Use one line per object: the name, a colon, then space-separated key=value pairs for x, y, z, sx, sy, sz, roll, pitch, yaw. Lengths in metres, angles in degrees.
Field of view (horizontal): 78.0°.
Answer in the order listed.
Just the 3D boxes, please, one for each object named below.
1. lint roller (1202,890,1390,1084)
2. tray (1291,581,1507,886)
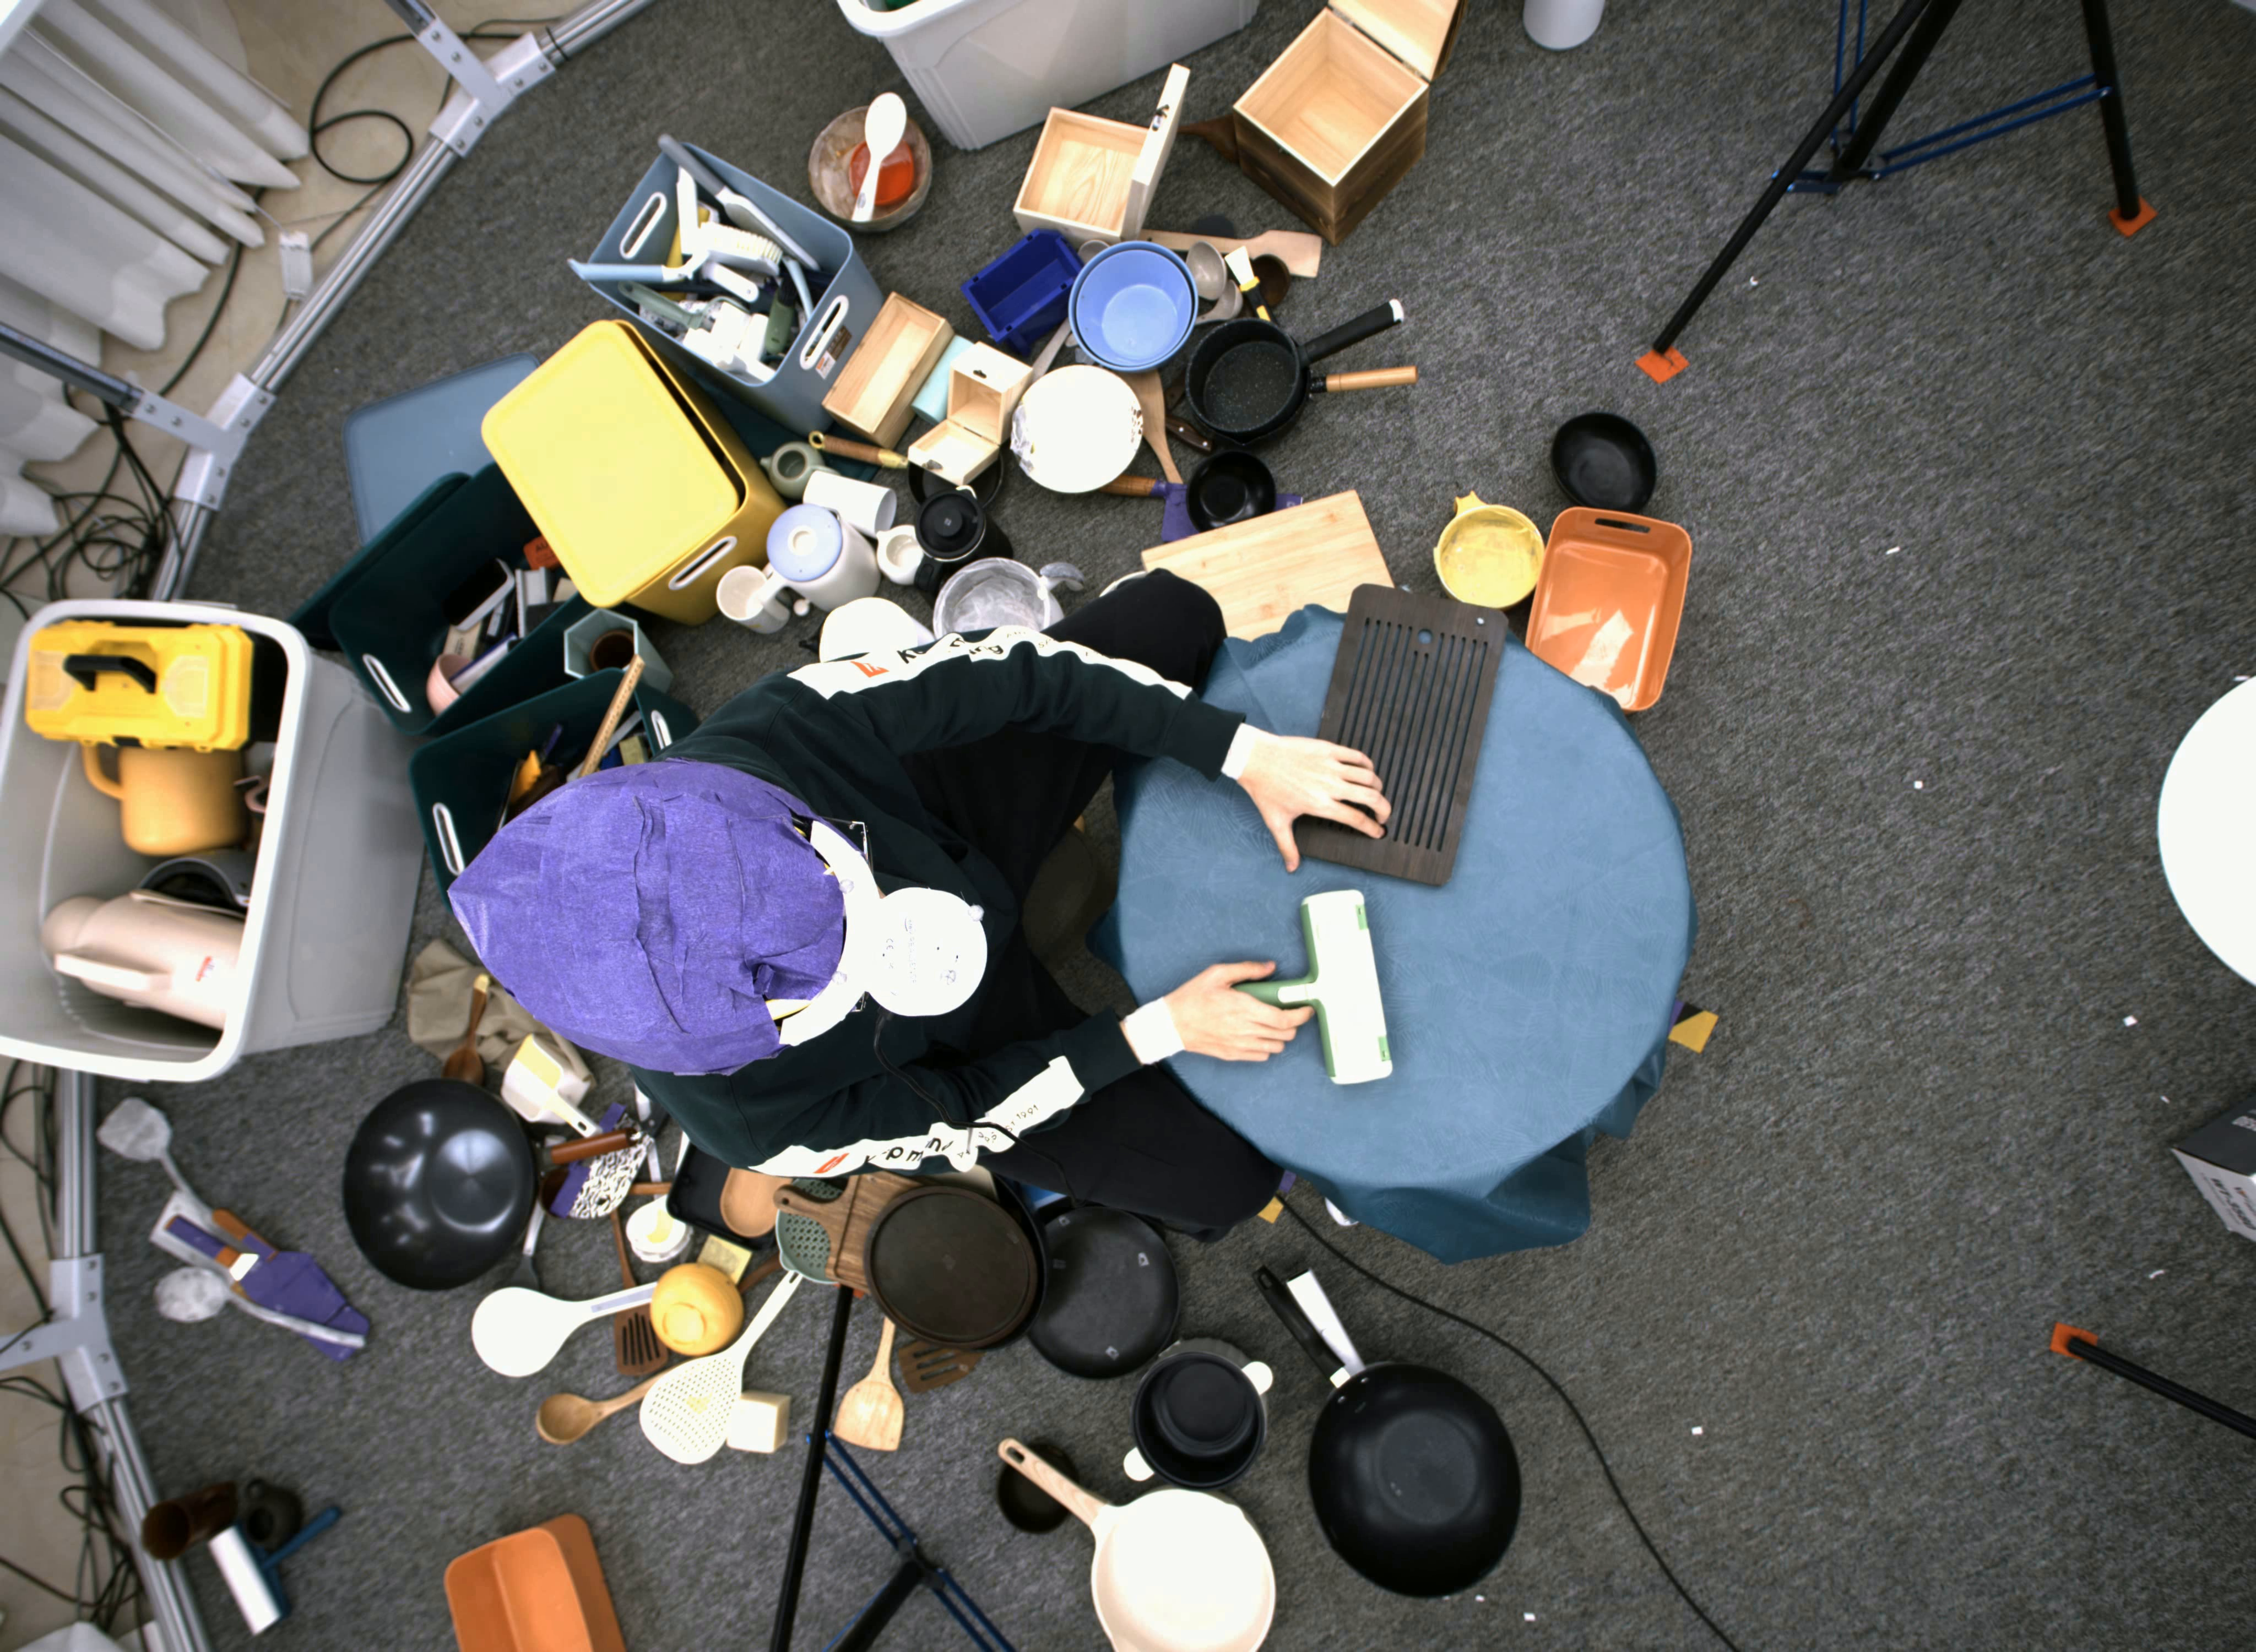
lint roller: x=0.165 y=0.173 z=1.429 sx=0.184 sy=0.082 sz=0.197 roll=-9 pitch=85 yaw=6
tray: x=0.286 y=-0.101 z=1.456 sx=0.170 sy=0.018 sz=0.305 roll=13 pitch=88 yaw=10
